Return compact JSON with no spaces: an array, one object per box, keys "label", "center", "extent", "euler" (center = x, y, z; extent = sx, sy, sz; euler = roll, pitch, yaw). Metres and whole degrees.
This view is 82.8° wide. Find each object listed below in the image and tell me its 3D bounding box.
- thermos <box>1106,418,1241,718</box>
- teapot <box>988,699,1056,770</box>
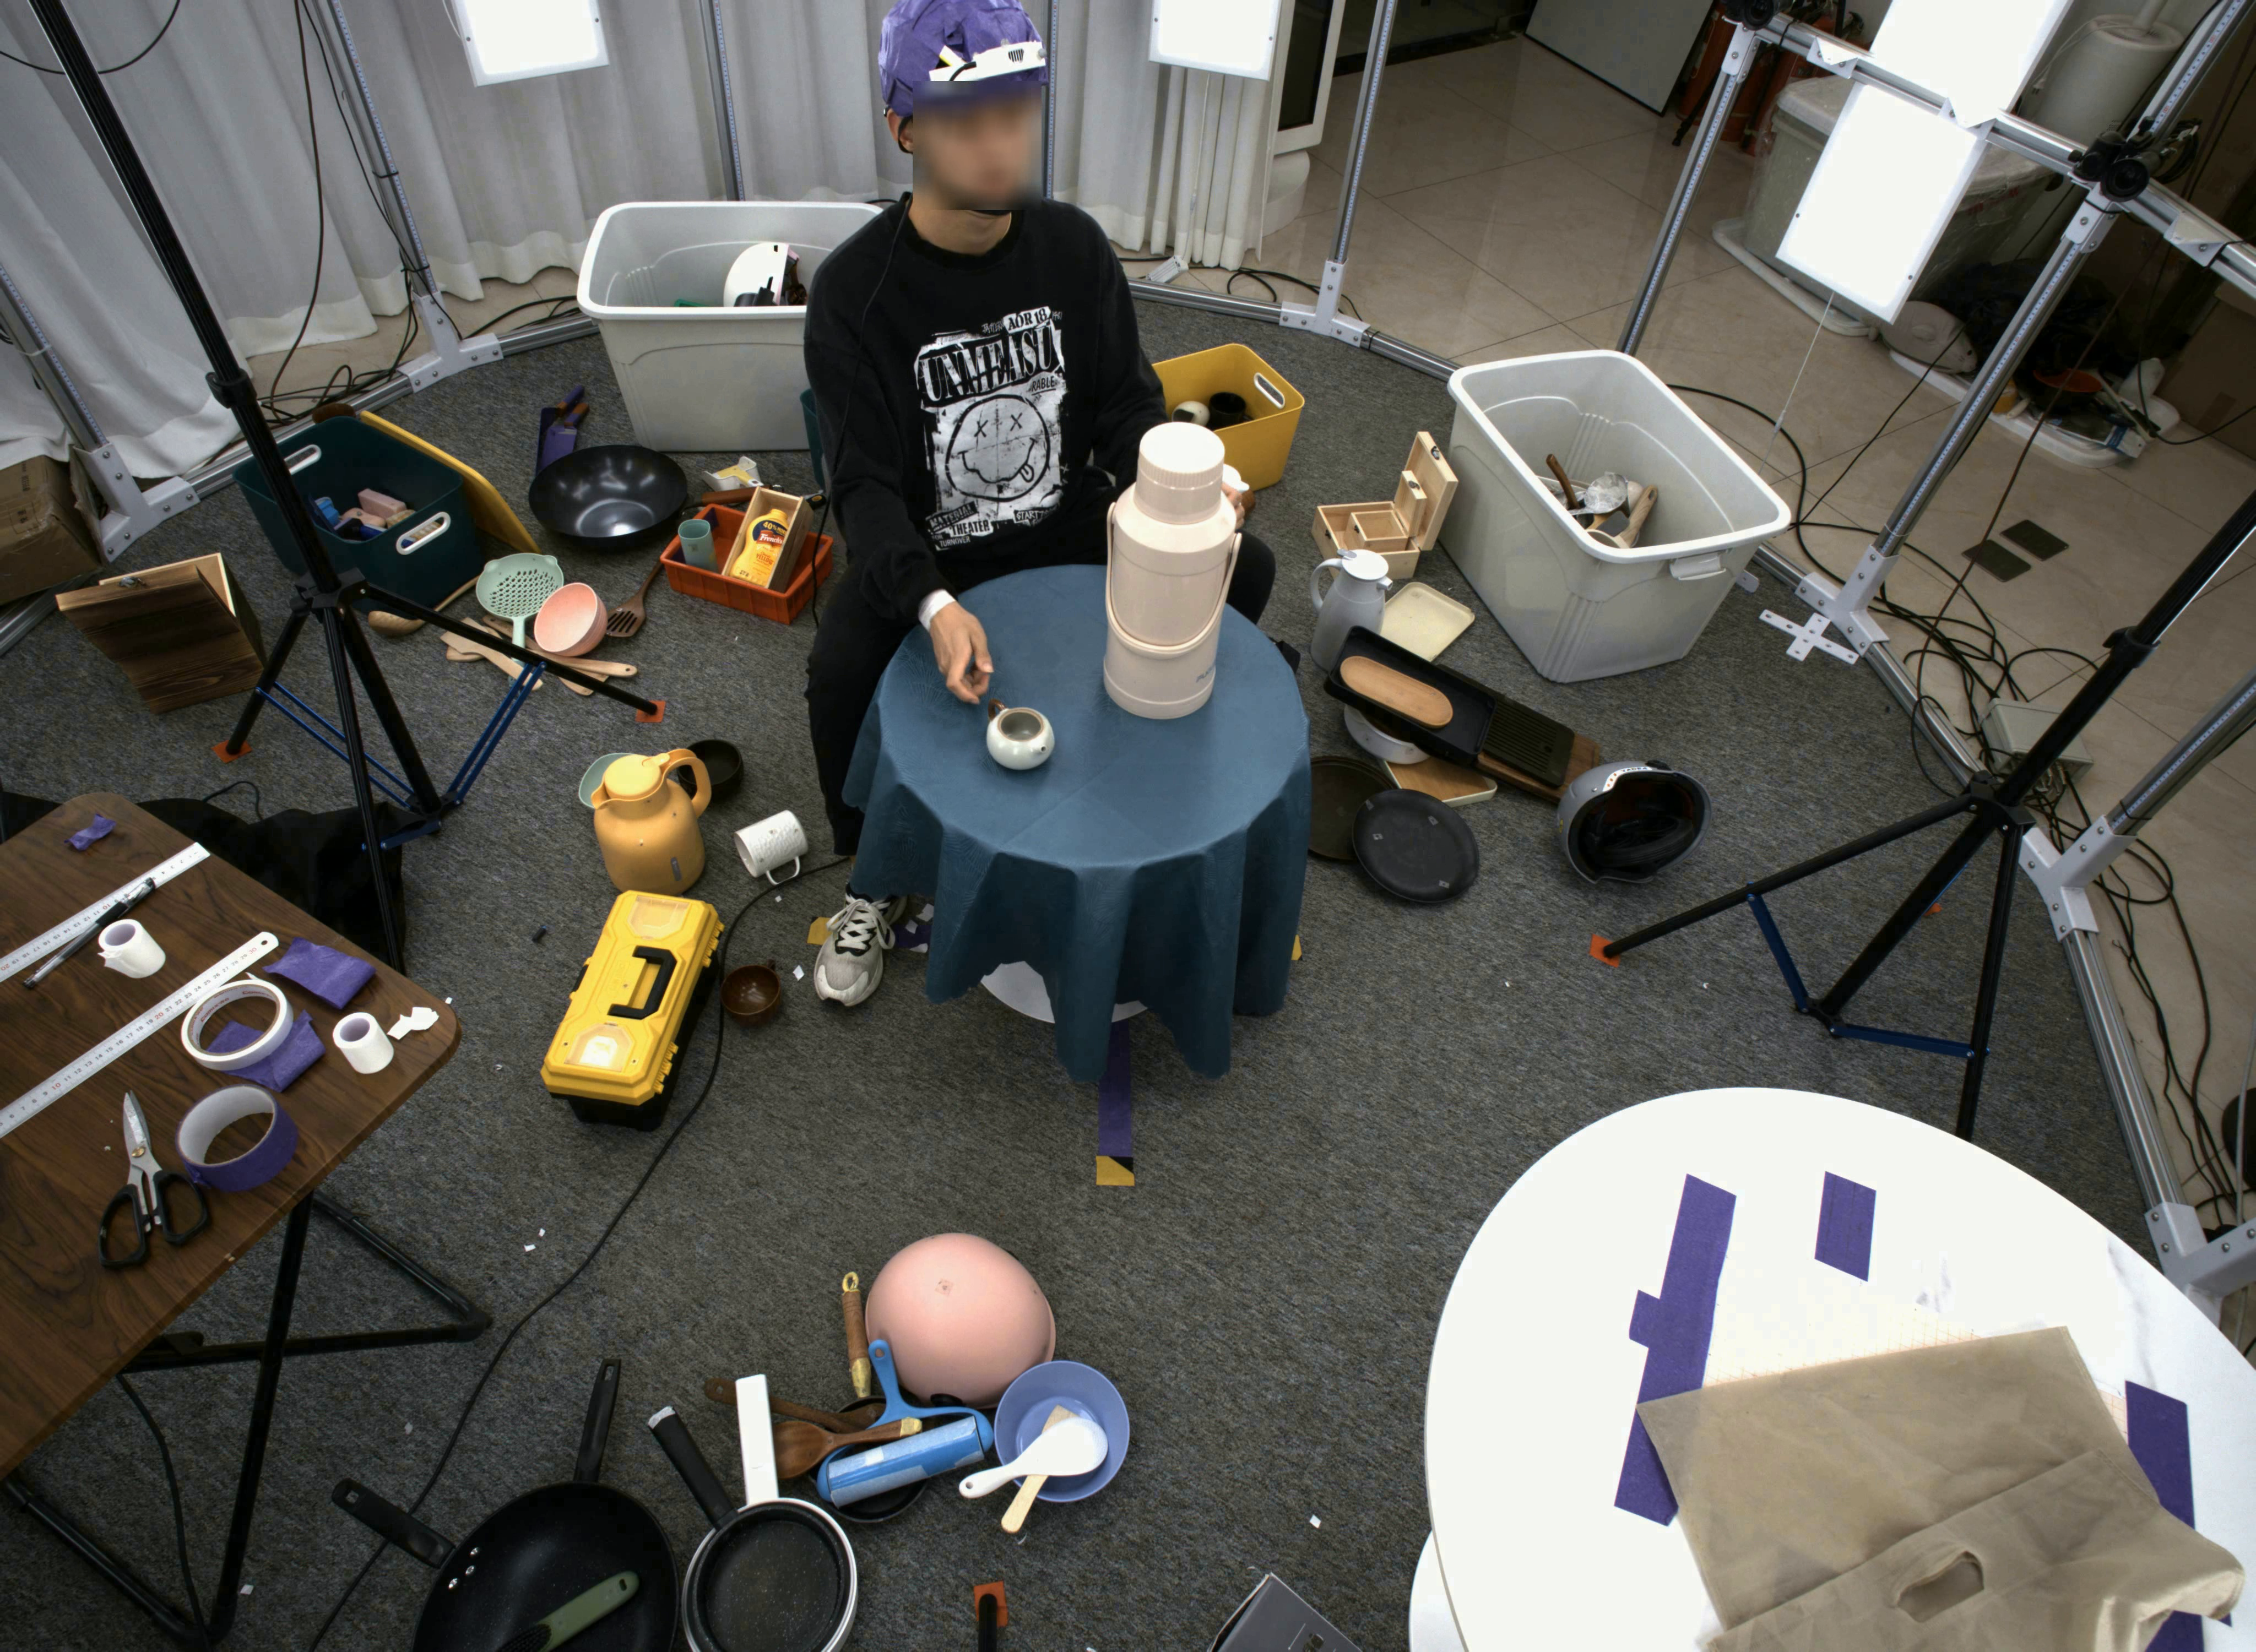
[{"label":"thermos","center":[0.061,-0.346,1.718],"extent":[0.176,0.396,0.211],"euler":[14,51,10]},{"label":"teapot","center":[-0.149,-0.124,1.729],"extent":[0.092,0.058,0.130],"euler":[-33,60,-22]}]
